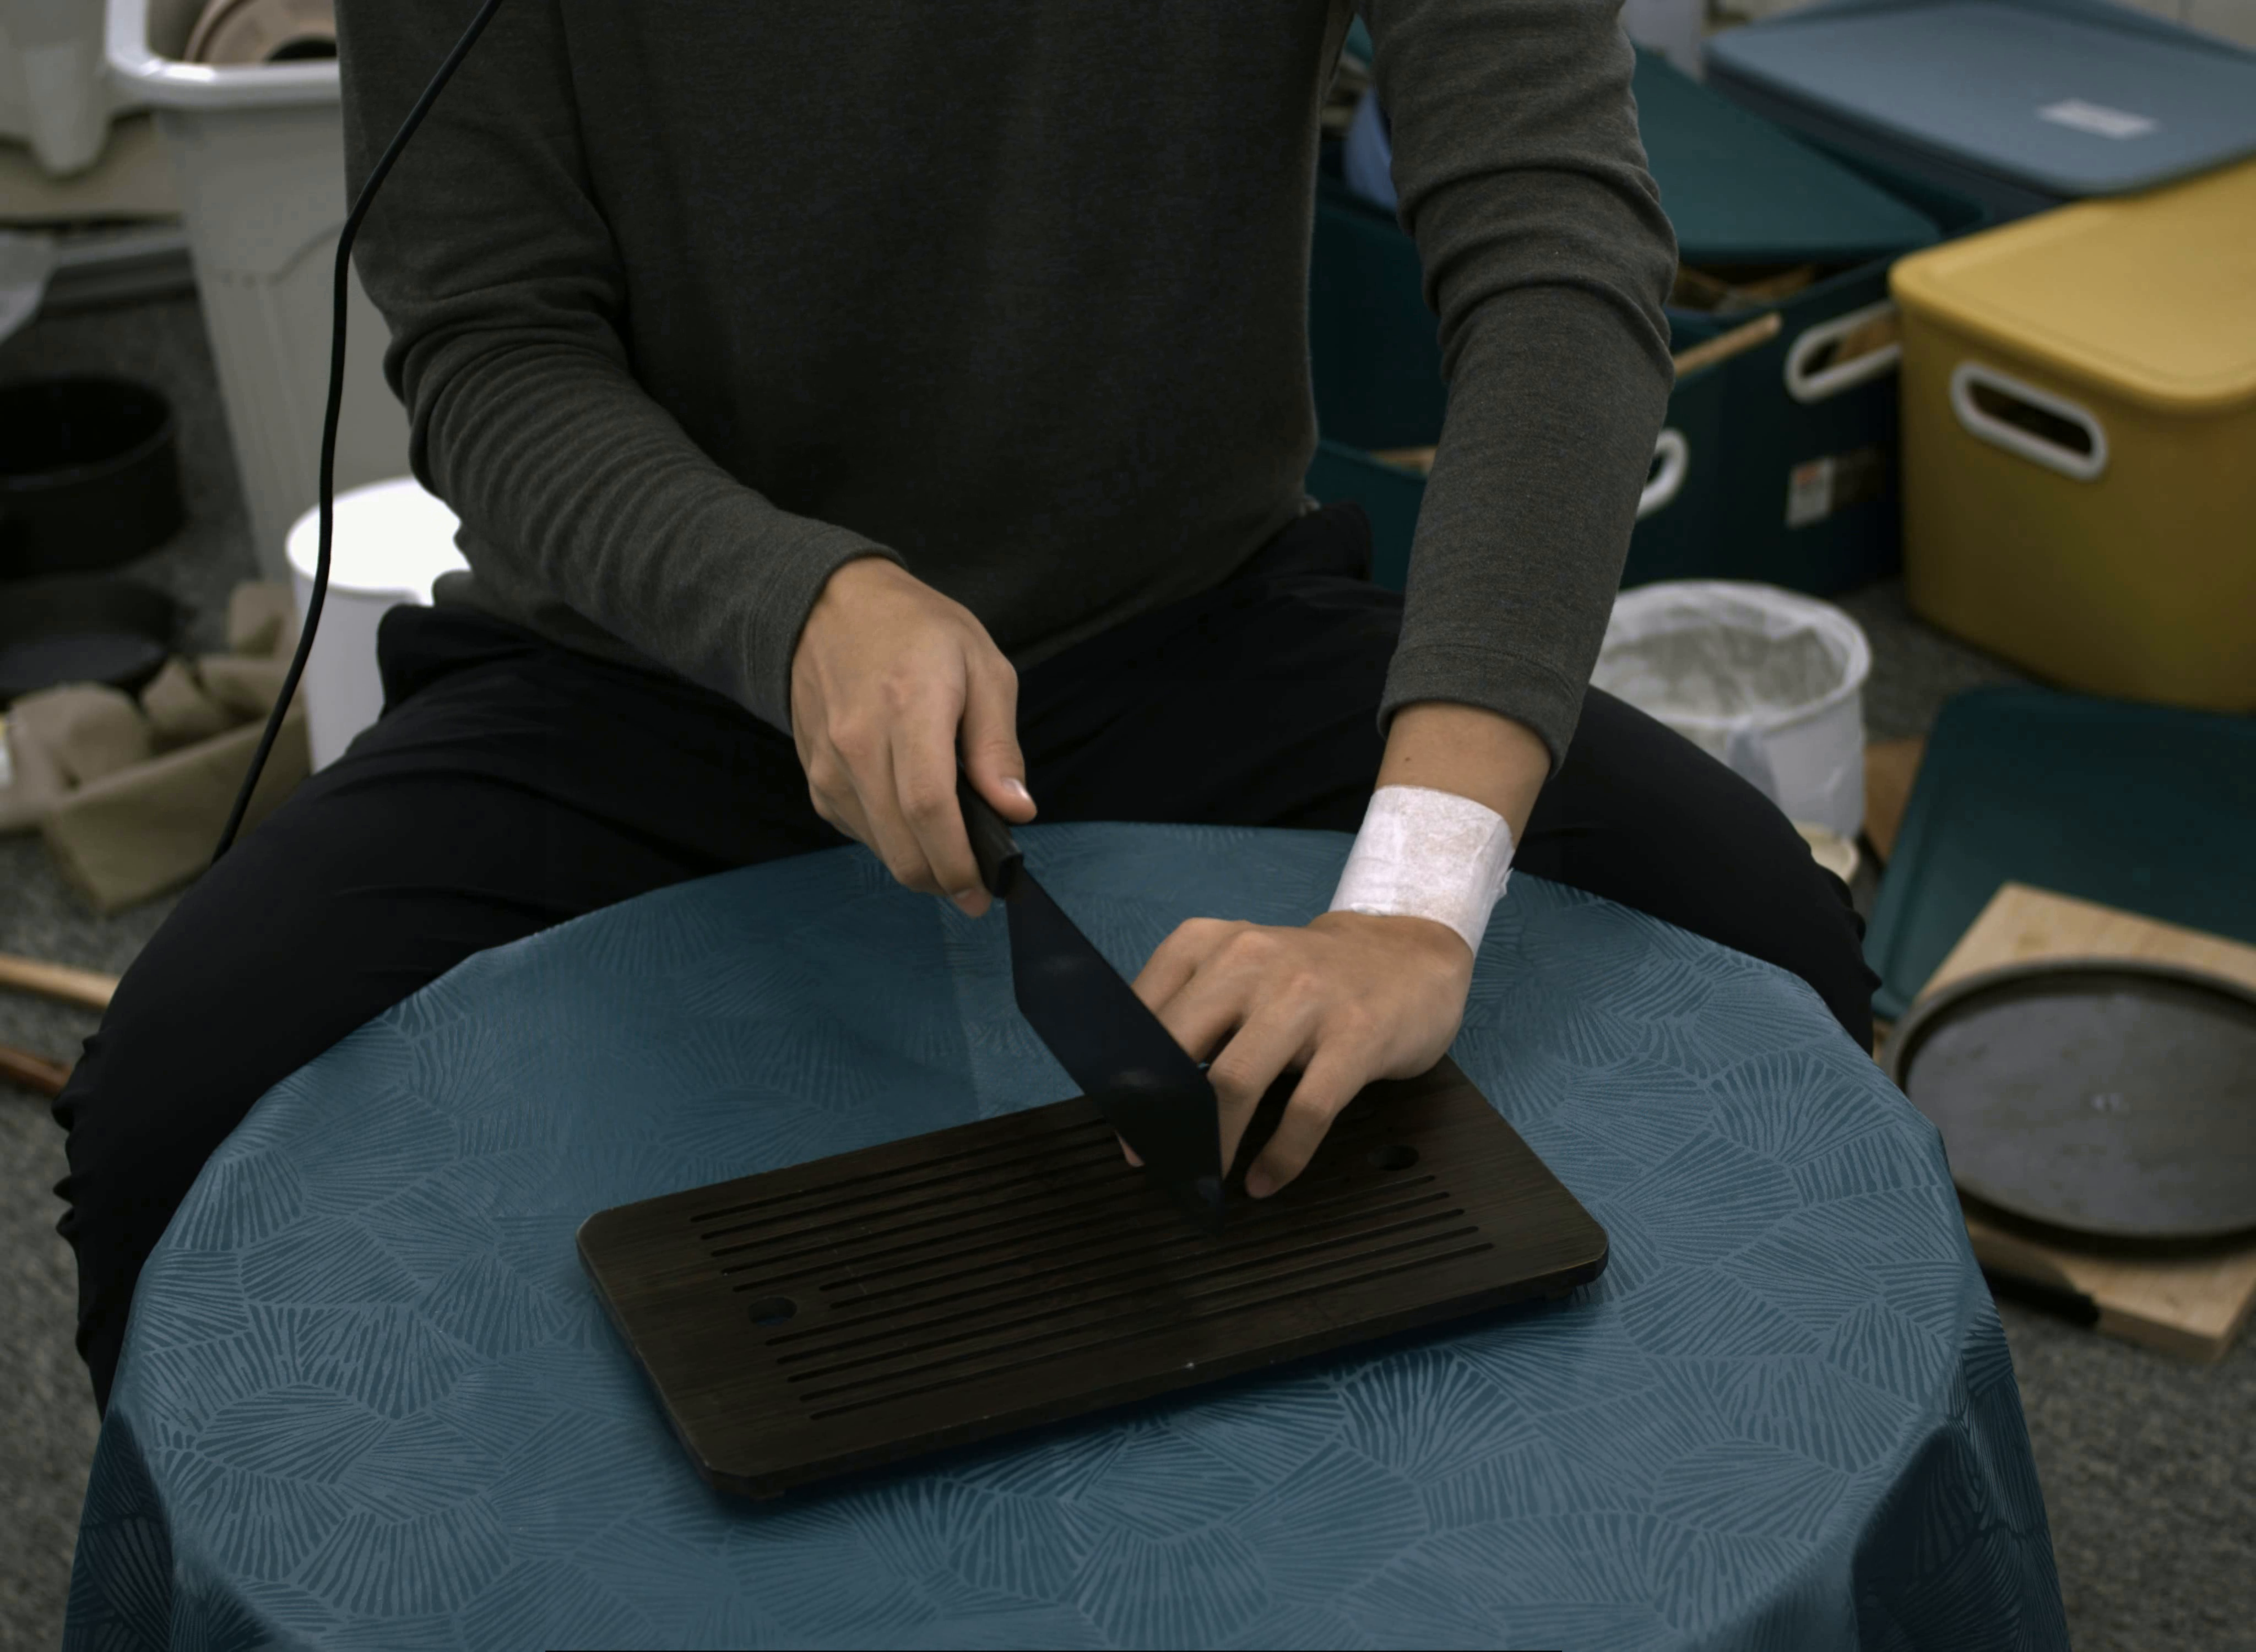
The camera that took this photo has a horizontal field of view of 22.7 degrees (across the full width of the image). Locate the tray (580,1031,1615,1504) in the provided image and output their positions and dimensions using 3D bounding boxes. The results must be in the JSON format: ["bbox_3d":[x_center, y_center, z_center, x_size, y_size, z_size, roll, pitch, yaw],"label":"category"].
[{"bbox_3d":[-0.011,0.140,1.807,0.306,0.018,0.171,-12,28,-18],"label":"tray"}]

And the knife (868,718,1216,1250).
[{"bbox_3d":[-0.029,0.044,1.869,0.021,0.080,0.305,-12,33,-18],"label":"knife"}]
